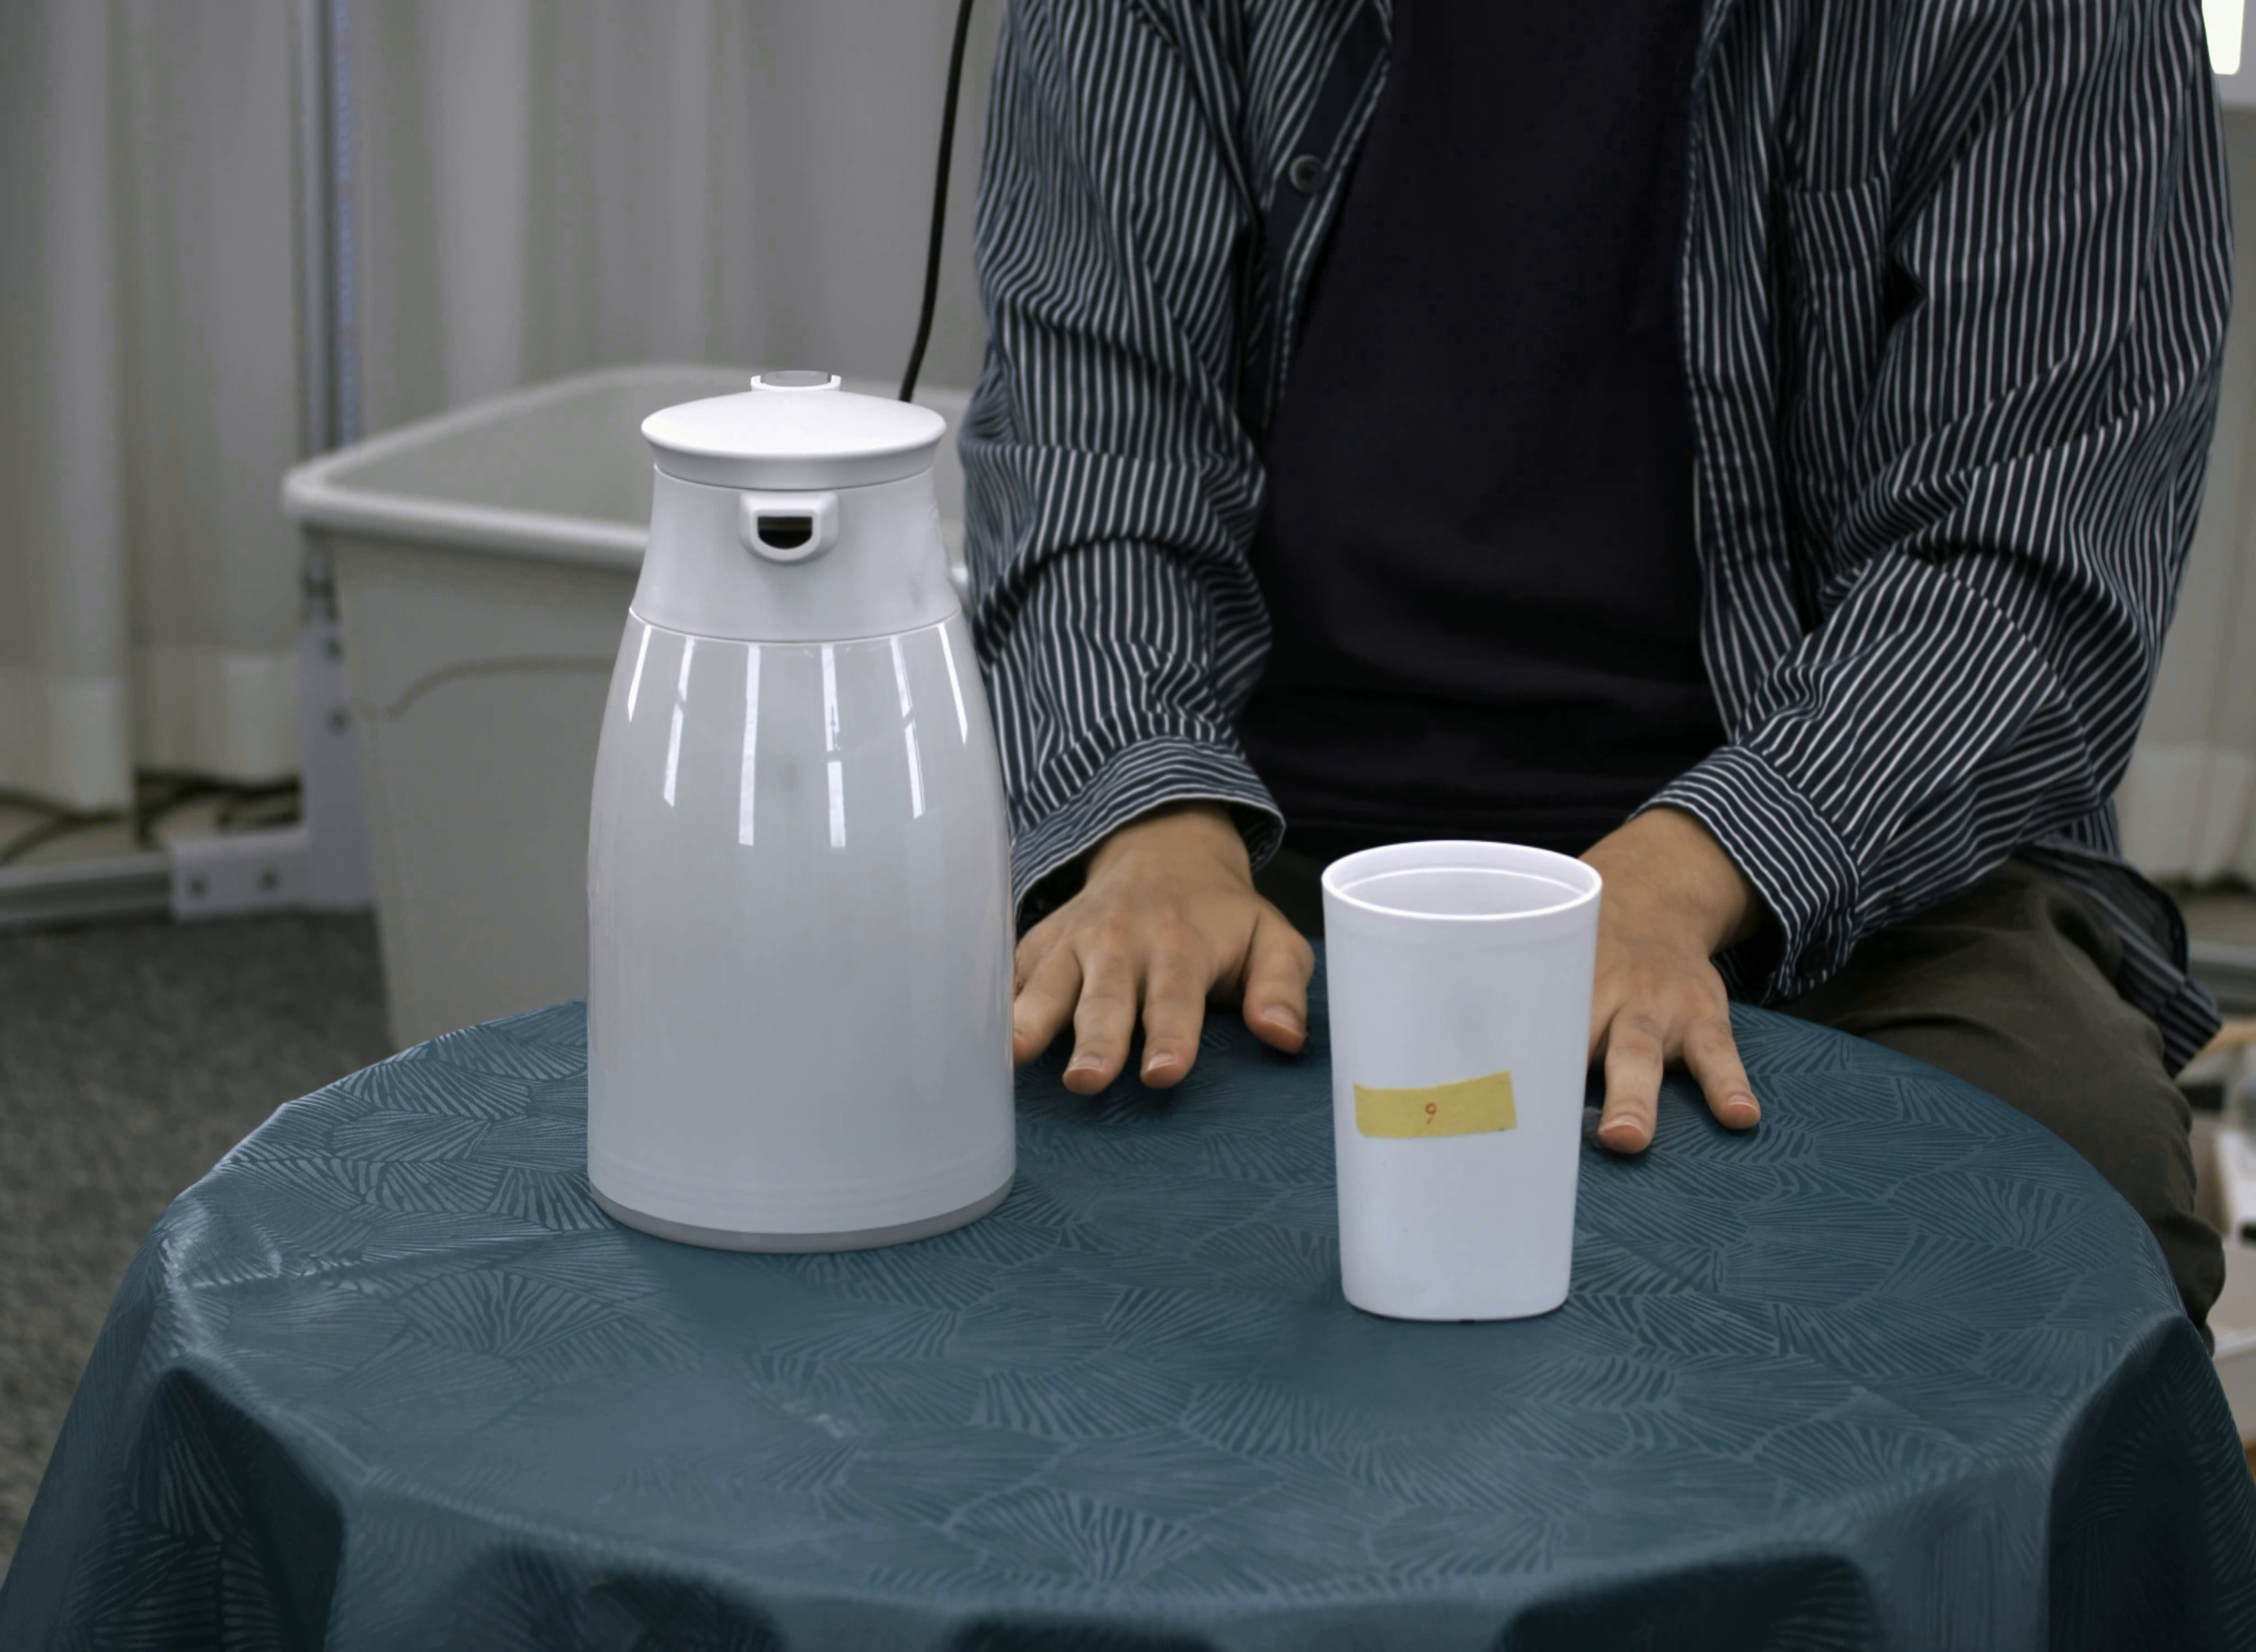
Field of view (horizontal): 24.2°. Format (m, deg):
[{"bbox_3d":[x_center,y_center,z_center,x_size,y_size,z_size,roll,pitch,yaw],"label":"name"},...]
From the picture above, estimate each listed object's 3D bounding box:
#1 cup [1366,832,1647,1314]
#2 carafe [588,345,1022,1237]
[{"bbox_3d":[0.109,0.072,1.531,0.081,0.126,0.081,0,16,1],"label":"cup"},{"bbox_3d":[-0.104,-0.020,1.617,0.132,0.251,0.166,-4,18,-7],"label":"carafe"}]
